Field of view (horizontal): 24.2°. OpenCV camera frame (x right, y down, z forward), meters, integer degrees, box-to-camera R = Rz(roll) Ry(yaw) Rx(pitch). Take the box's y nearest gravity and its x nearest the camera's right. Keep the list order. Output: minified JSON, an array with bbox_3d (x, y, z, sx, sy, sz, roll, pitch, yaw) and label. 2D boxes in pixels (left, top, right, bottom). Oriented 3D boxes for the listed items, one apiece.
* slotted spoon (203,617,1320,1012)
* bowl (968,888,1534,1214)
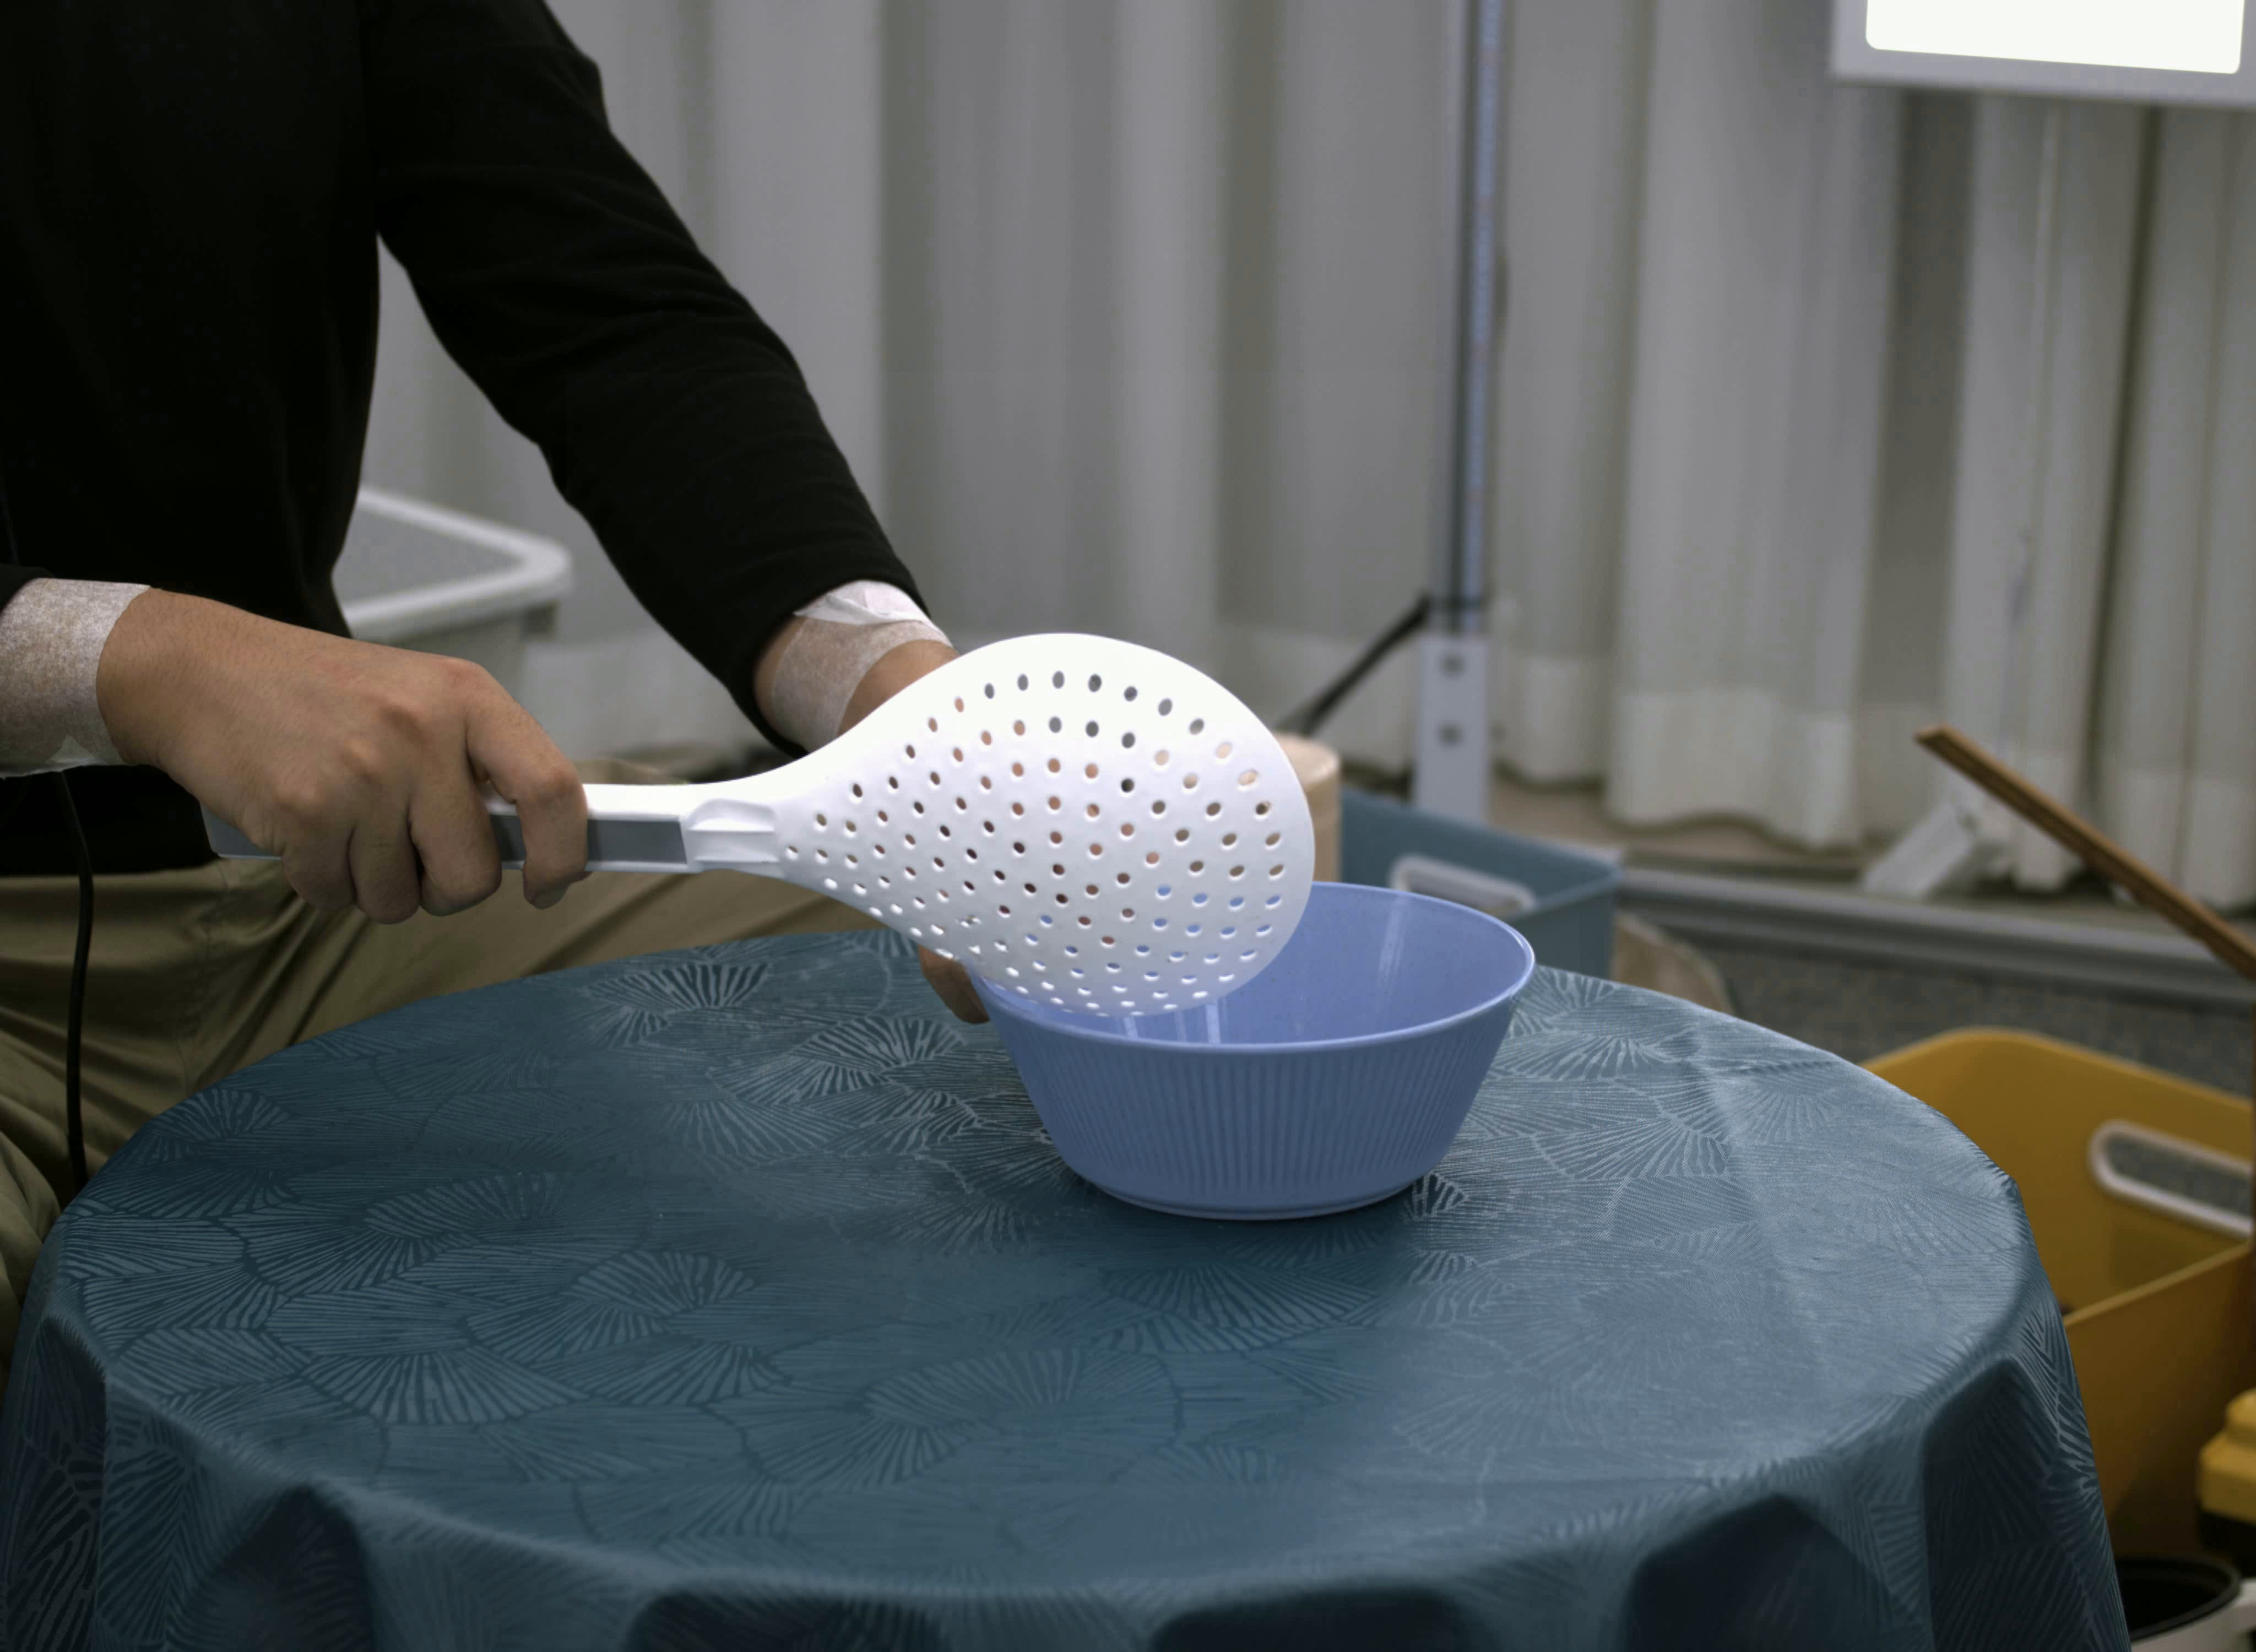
[{"bbox_3d":[-0.115,-0.001,1.590,0.347,0.138,0.045,4,33,17],"label":"slotted spoon"},{"bbox_3d":[0.038,0.071,1.636,0.175,0.071,0.175,-1,15,1],"label":"bowl"}]
